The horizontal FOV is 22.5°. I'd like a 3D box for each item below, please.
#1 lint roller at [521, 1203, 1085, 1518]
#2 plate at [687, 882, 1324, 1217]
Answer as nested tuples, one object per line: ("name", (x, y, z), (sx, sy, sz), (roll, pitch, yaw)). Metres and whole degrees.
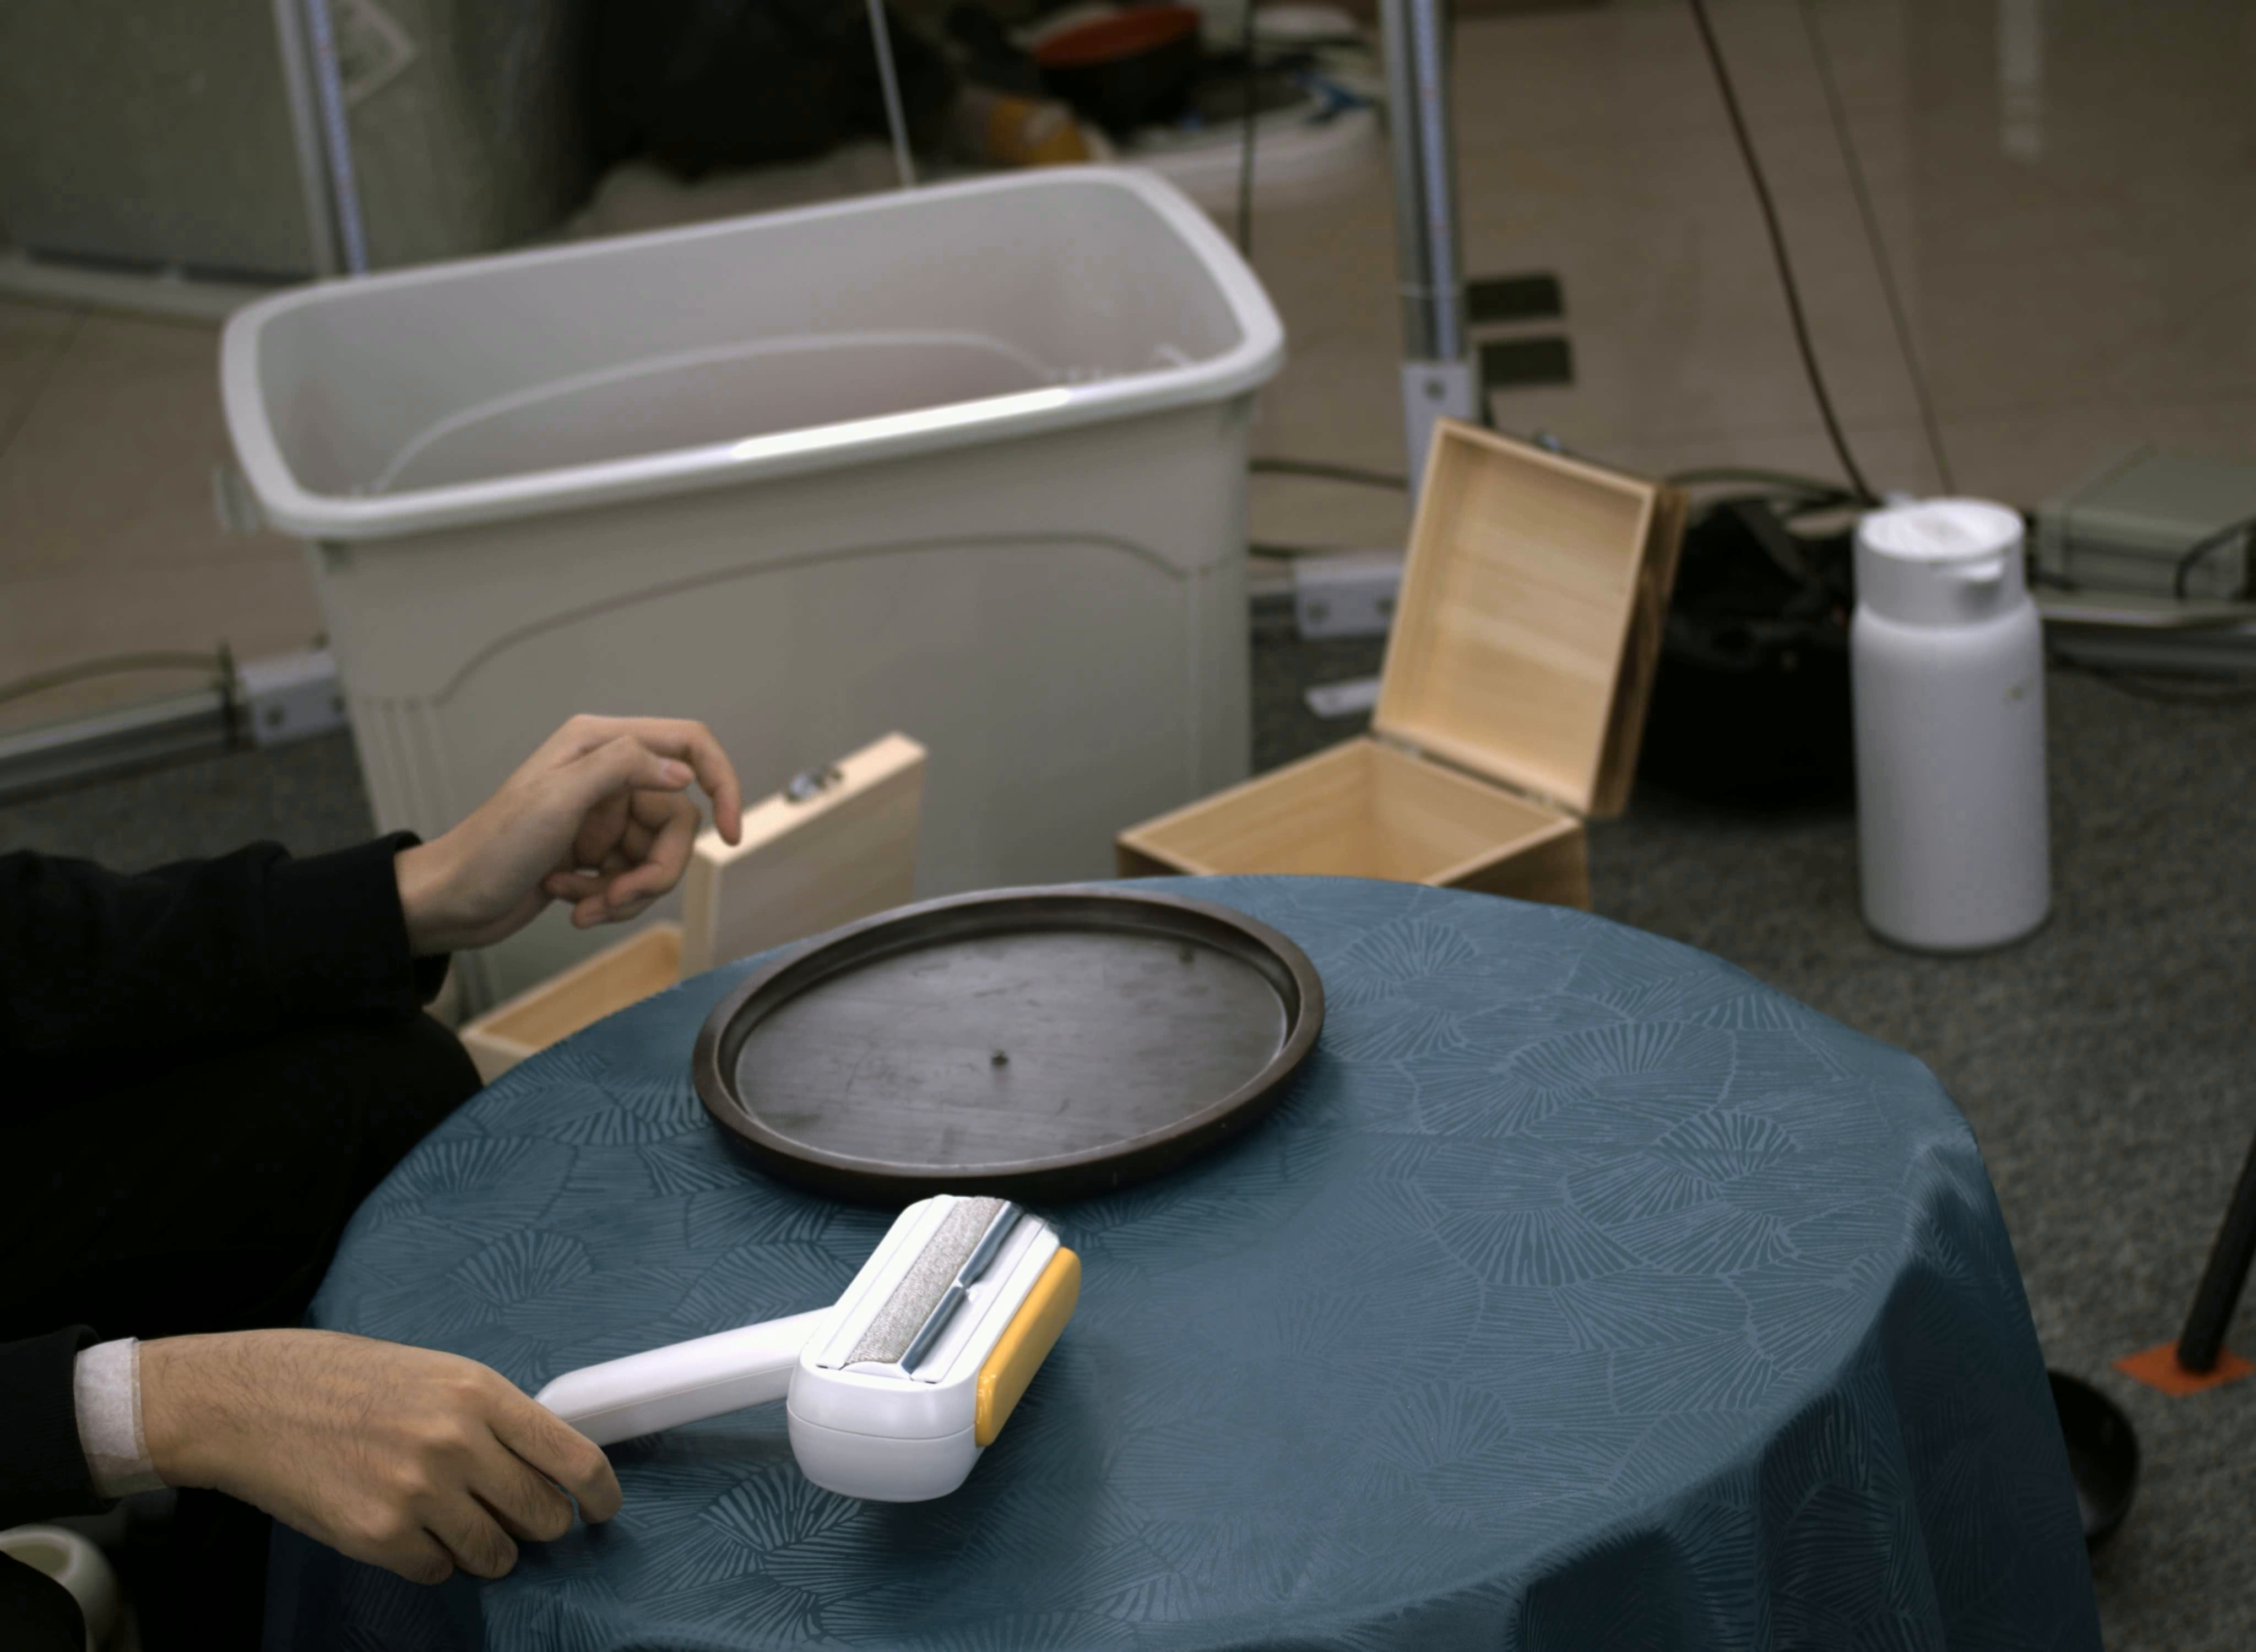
("lint roller", (-0.124, 0.189, 1.986), (0.192, 0.075, 0.190), (0, 20, 17))
("plate", (-0.047, 0.088, 2.238), (0.254, 0.029, 0.251), (-6, 26, 3))
